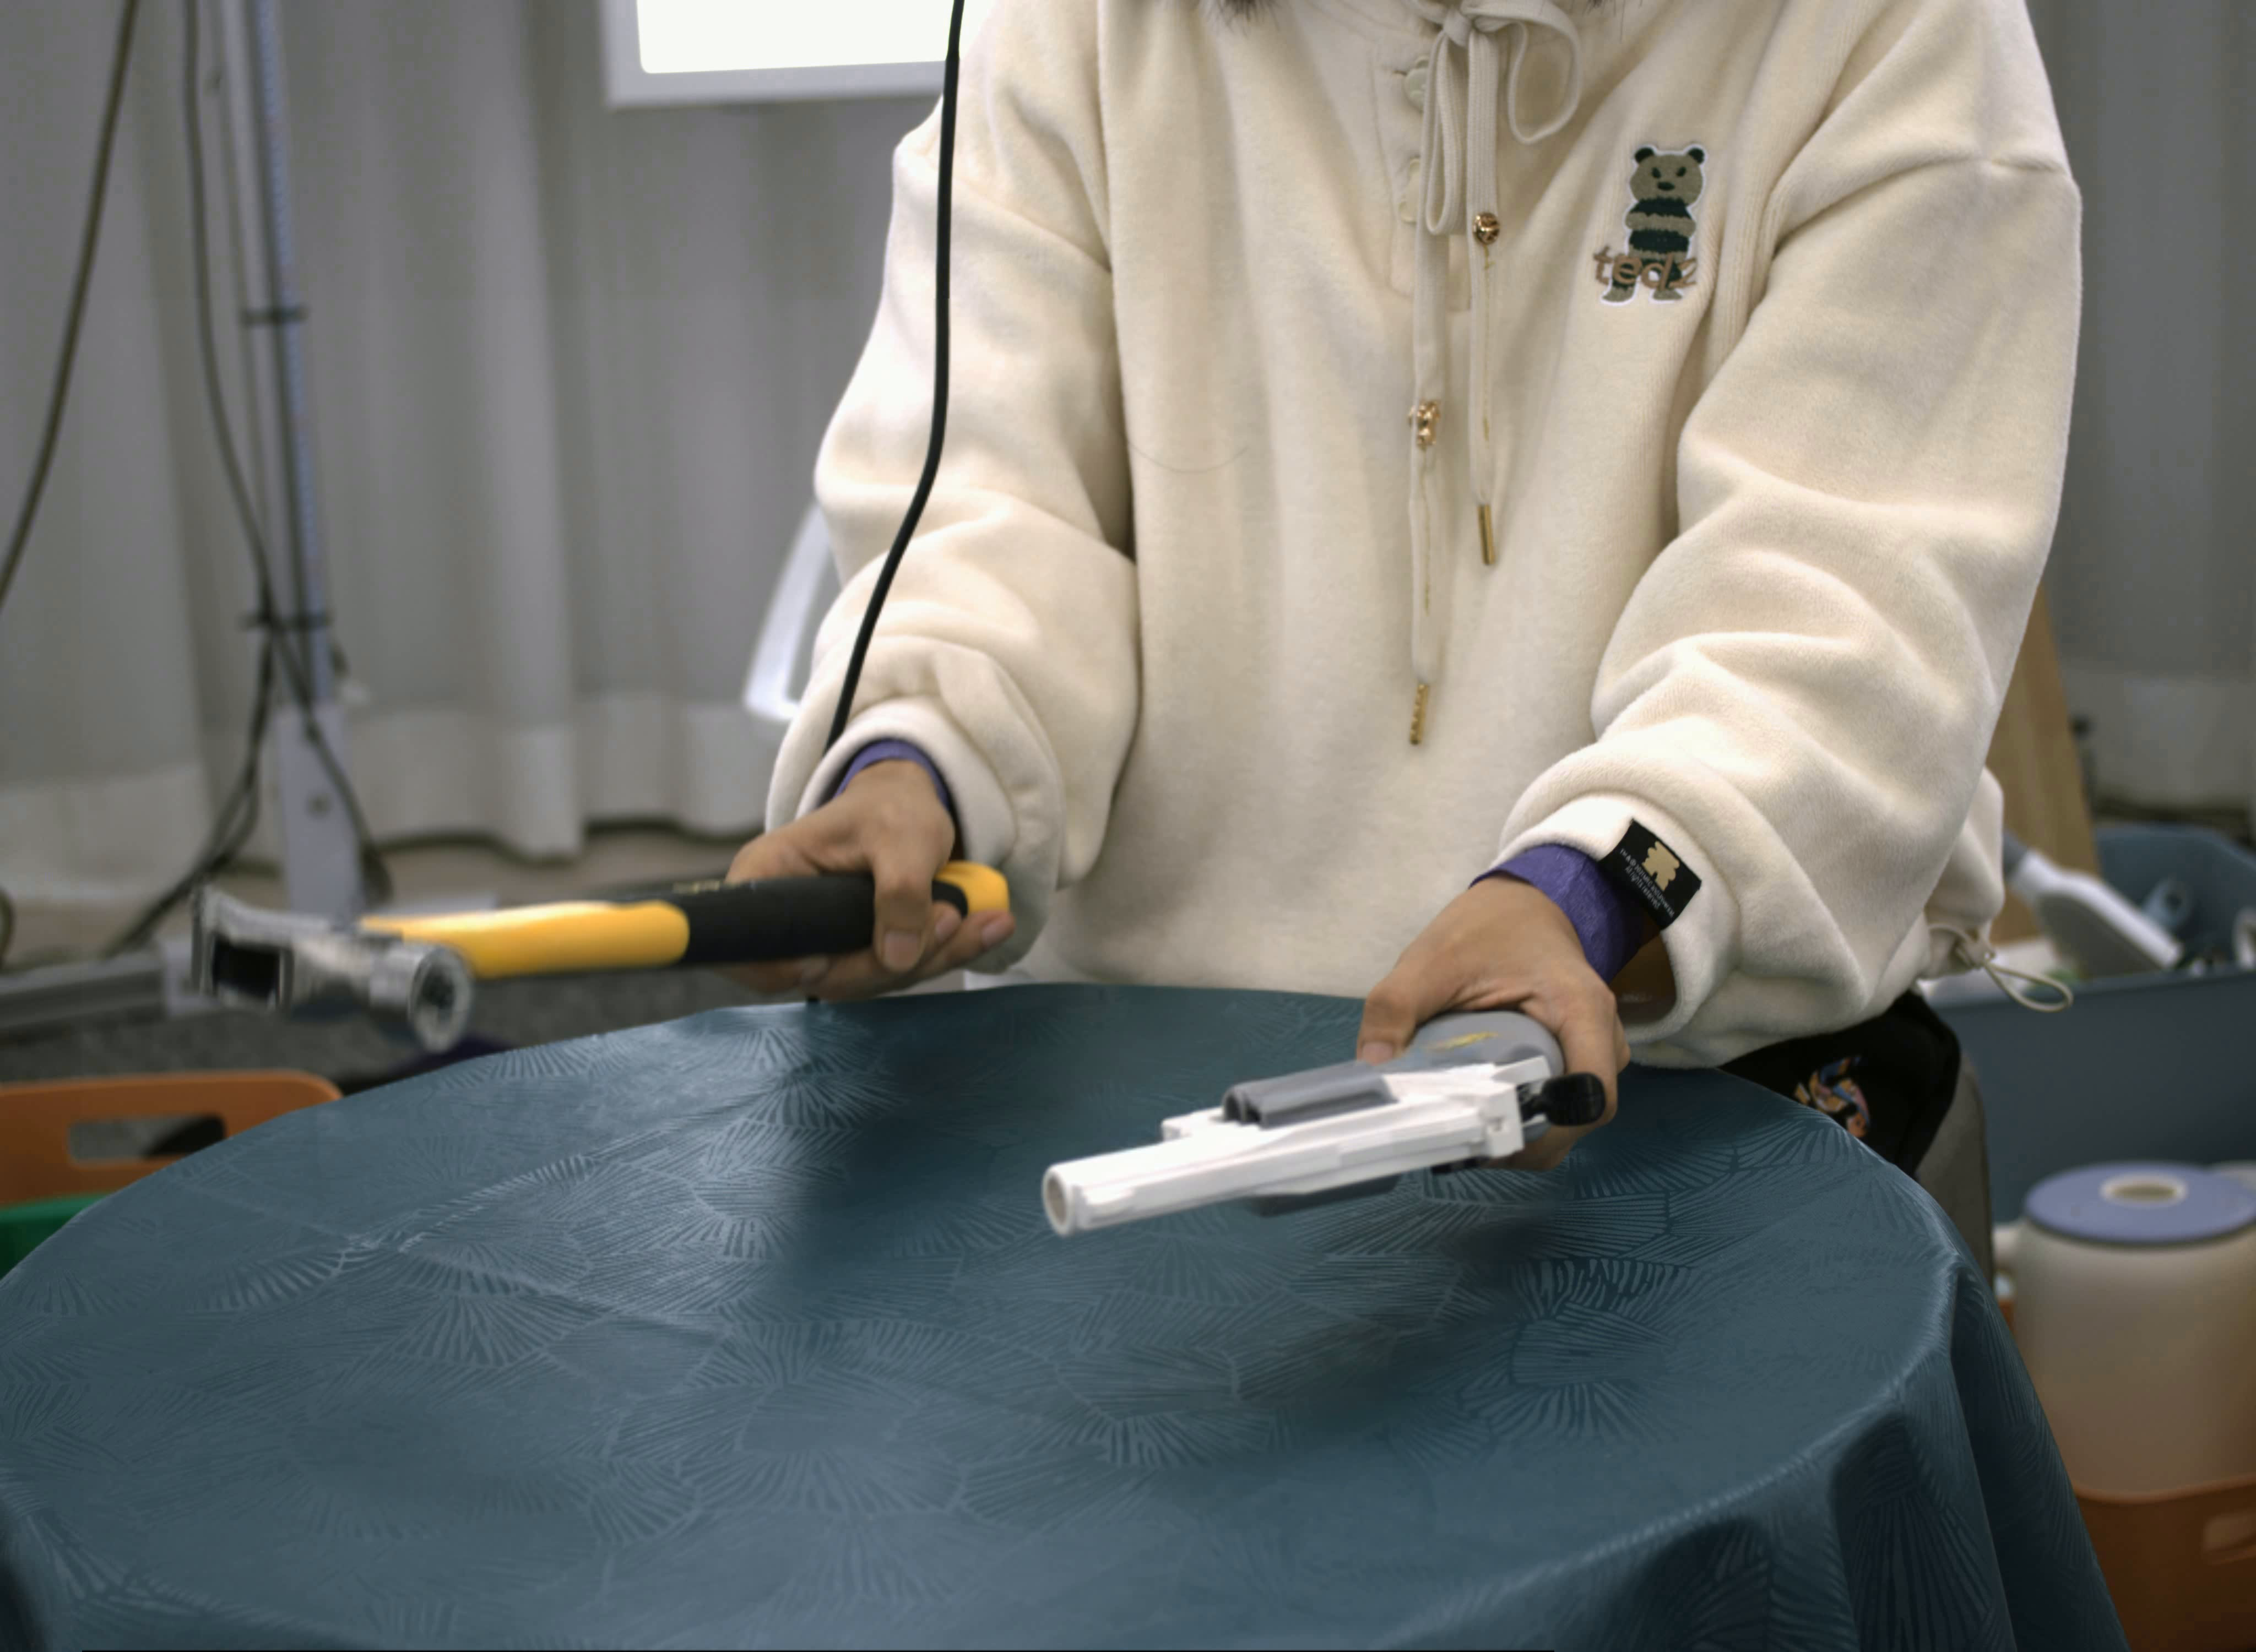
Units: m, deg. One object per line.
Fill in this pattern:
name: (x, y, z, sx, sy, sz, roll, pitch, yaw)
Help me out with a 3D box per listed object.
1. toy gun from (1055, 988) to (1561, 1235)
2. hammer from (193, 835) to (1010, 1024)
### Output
toy gun: (0.054, 0.082, 1.574, 0.208, 0.039, 0.142, -10, 8, -26)
hammer: (-0.151, 0.025, 1.690, 0.132, 0.032, 0.337, 6, 7, 36)
